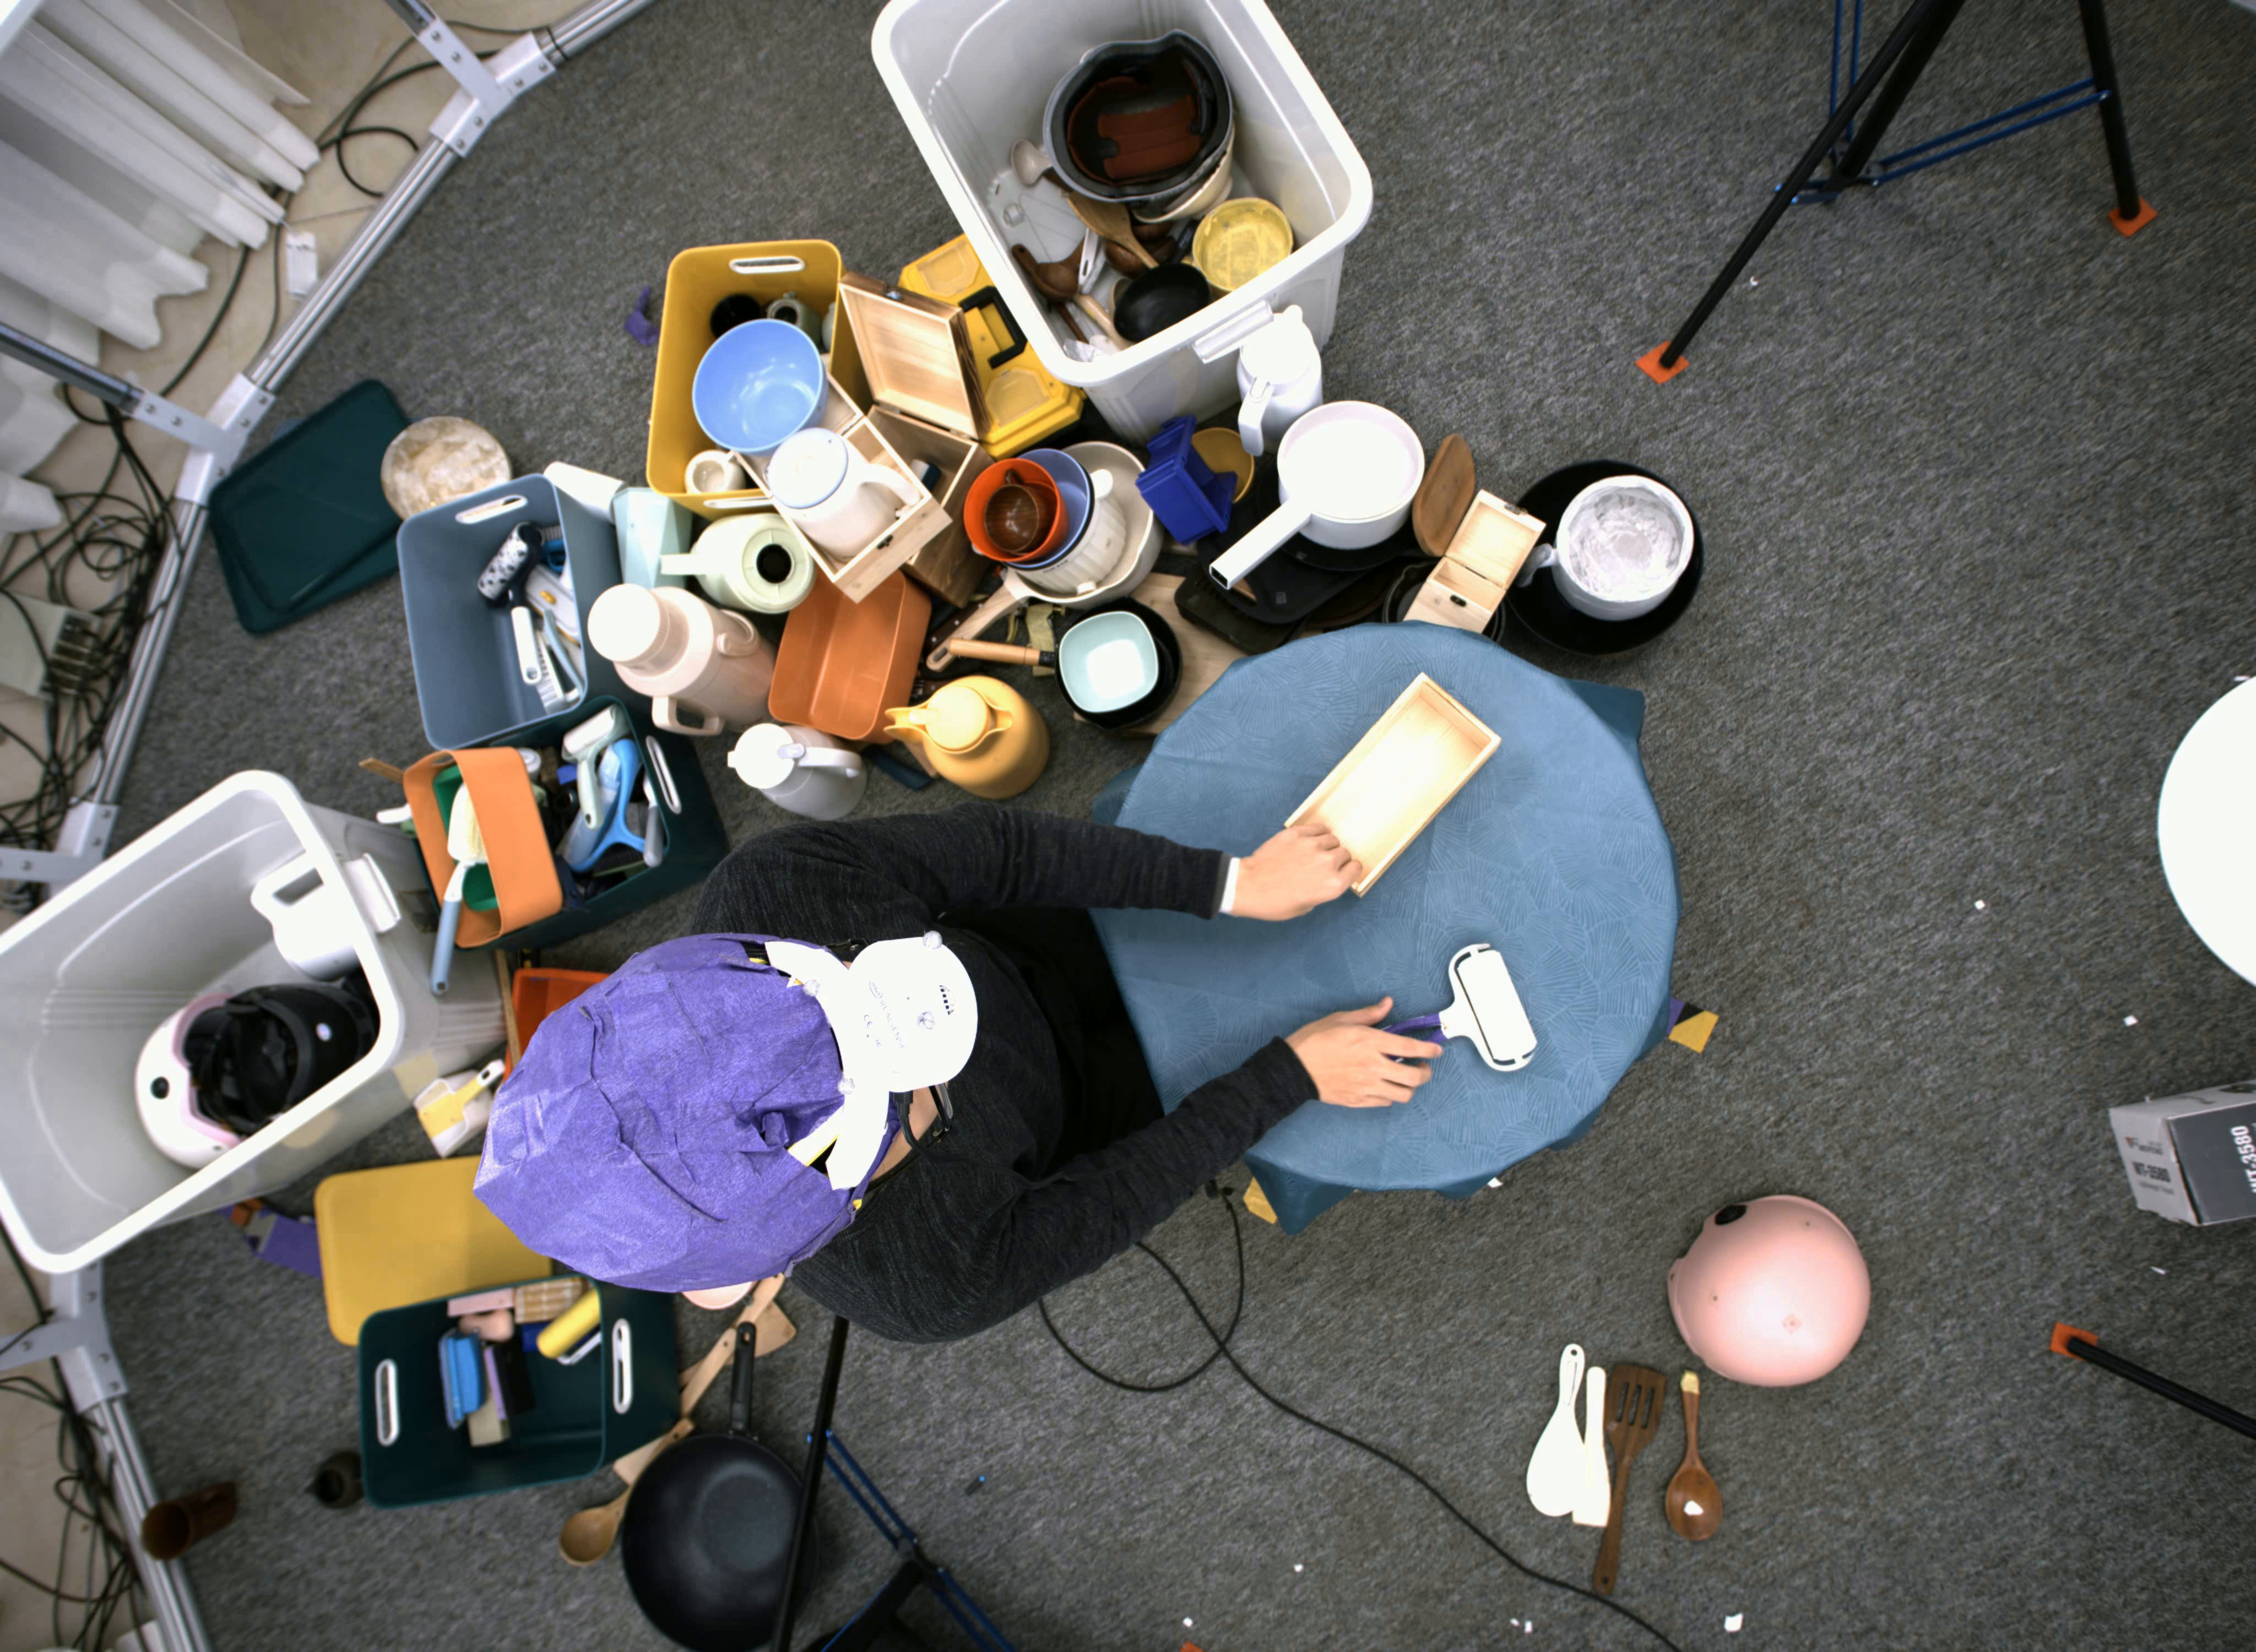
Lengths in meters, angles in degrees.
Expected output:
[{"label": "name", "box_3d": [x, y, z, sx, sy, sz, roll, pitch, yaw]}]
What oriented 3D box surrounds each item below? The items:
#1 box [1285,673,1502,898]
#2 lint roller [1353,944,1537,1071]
[{"label": "box", "box_3d": [0.273, -0.041, 1.426, 0.107, 0.080, 0.212, 42, 95, 10]}, {"label": "lint roller", "box_3d": [0.317, 0.205, 1.420, 0.181, 0.050, 0.132, -20, 84, 7]}]
